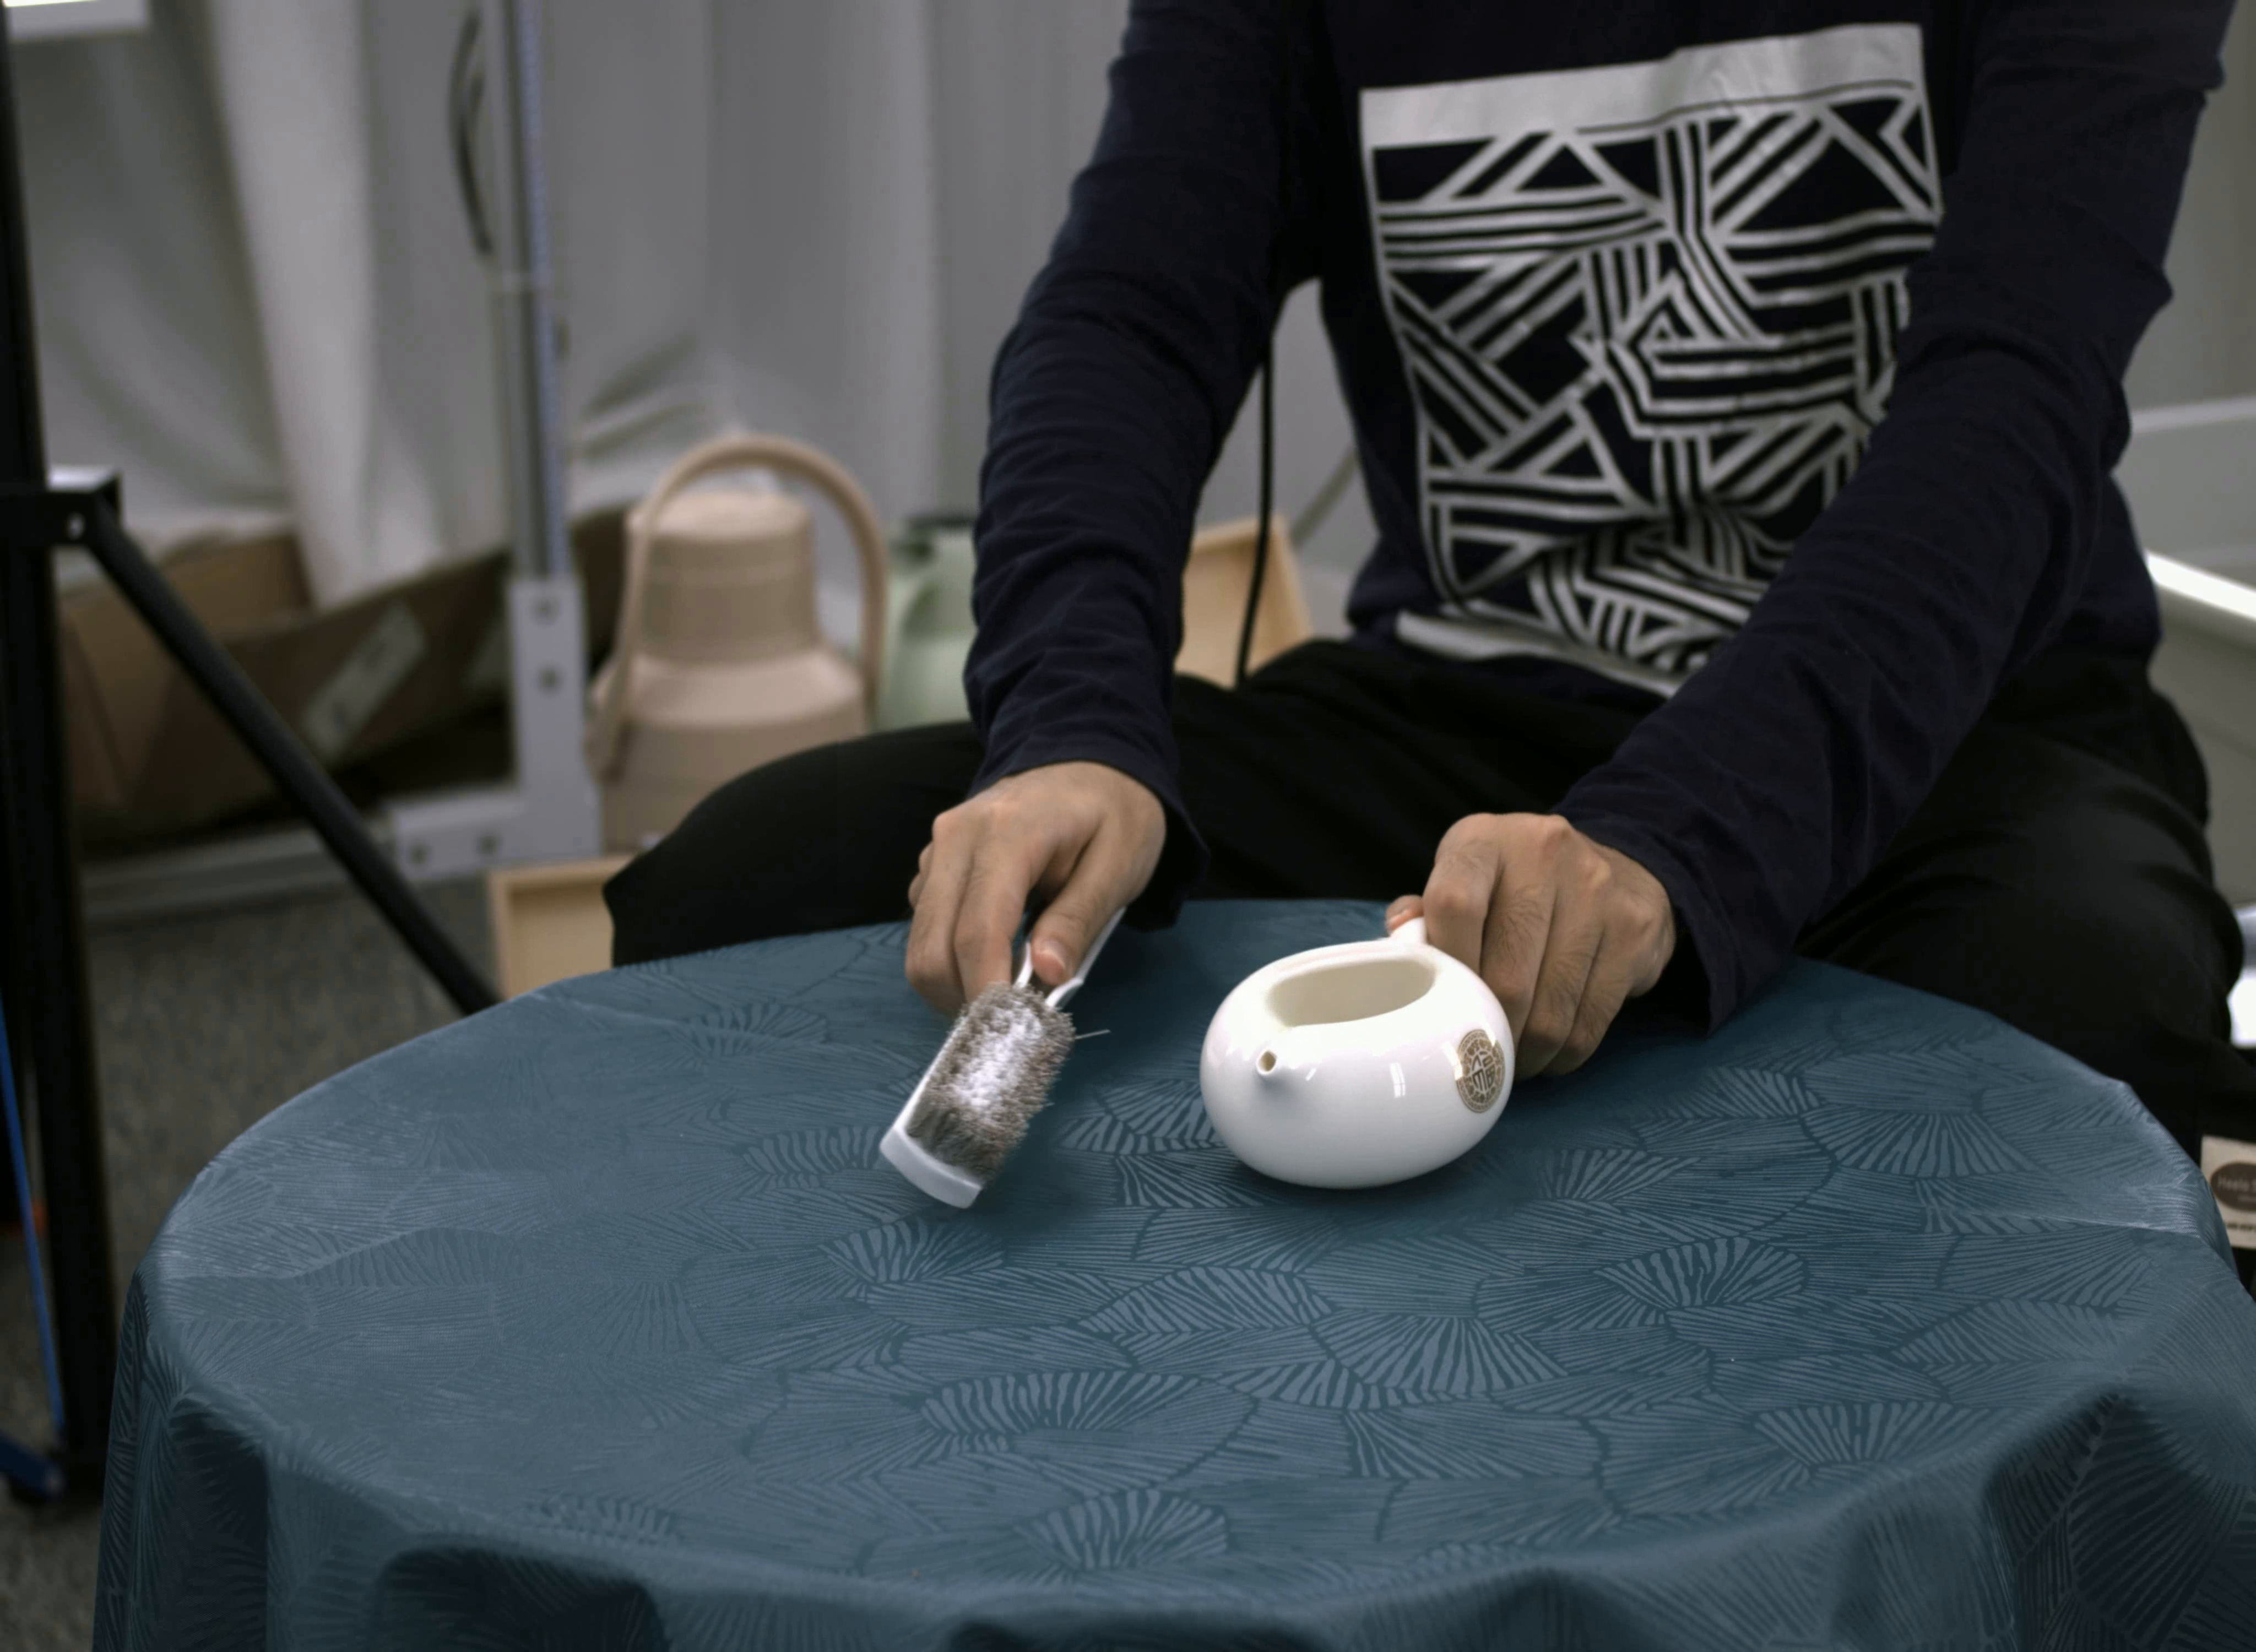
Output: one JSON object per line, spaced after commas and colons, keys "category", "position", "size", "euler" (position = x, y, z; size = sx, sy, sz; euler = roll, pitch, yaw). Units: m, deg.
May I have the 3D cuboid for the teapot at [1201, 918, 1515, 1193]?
{"category": "teapot", "position": [0.073, 0.068, 1.575], "size": [0.095, 0.056, 0.125], "euler": [-3, 20, 29]}

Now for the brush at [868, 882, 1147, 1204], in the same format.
{"category": "brush", "position": [-0.025, 0.049, 1.642], "size": [0.034, 0.050, 0.242], "euler": [30, 25, 4]}
